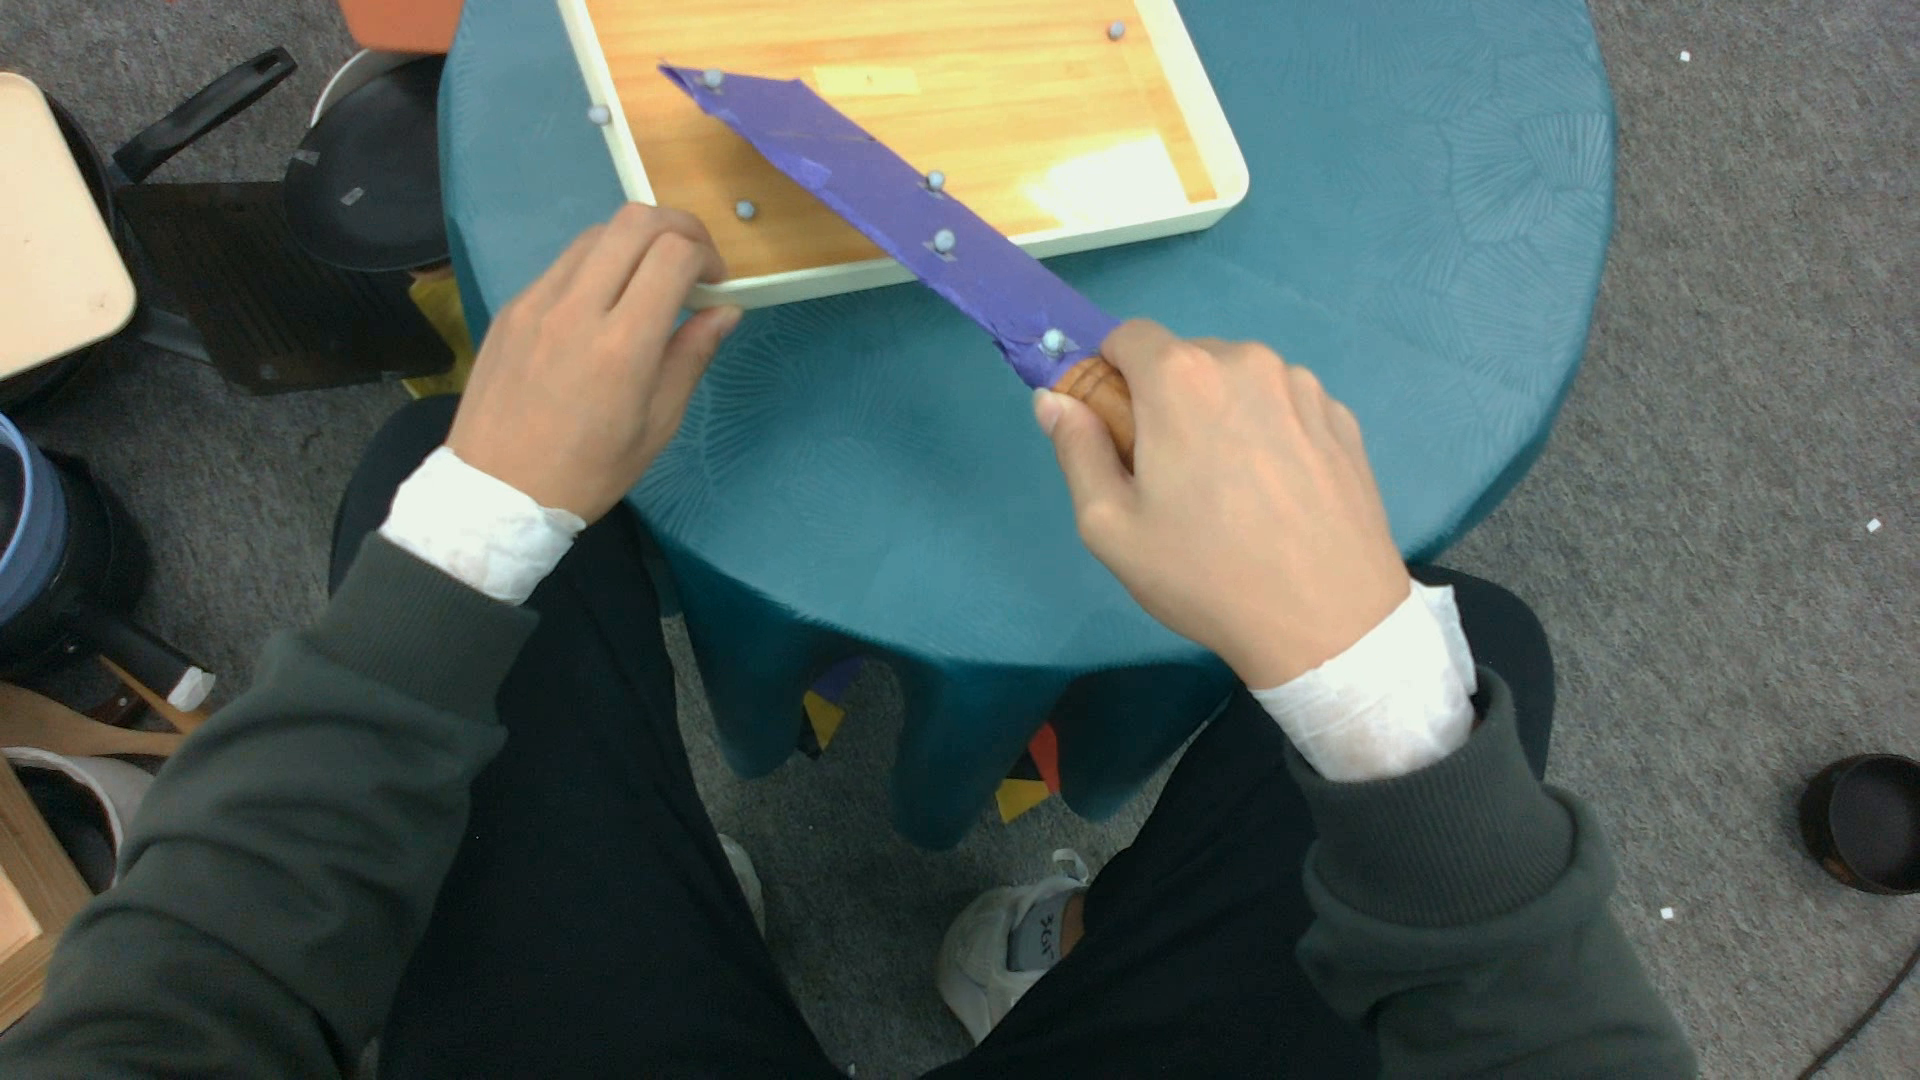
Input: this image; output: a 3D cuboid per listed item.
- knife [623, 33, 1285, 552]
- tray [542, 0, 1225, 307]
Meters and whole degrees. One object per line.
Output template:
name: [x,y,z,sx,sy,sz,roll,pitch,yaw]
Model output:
knife: [0.006,-0.111,0.529,0.315,0.032,0.104,42,32,18]
tray: [-0.028,-0.218,0.639,0.301,0.027,0.192,-16,78,-28]
